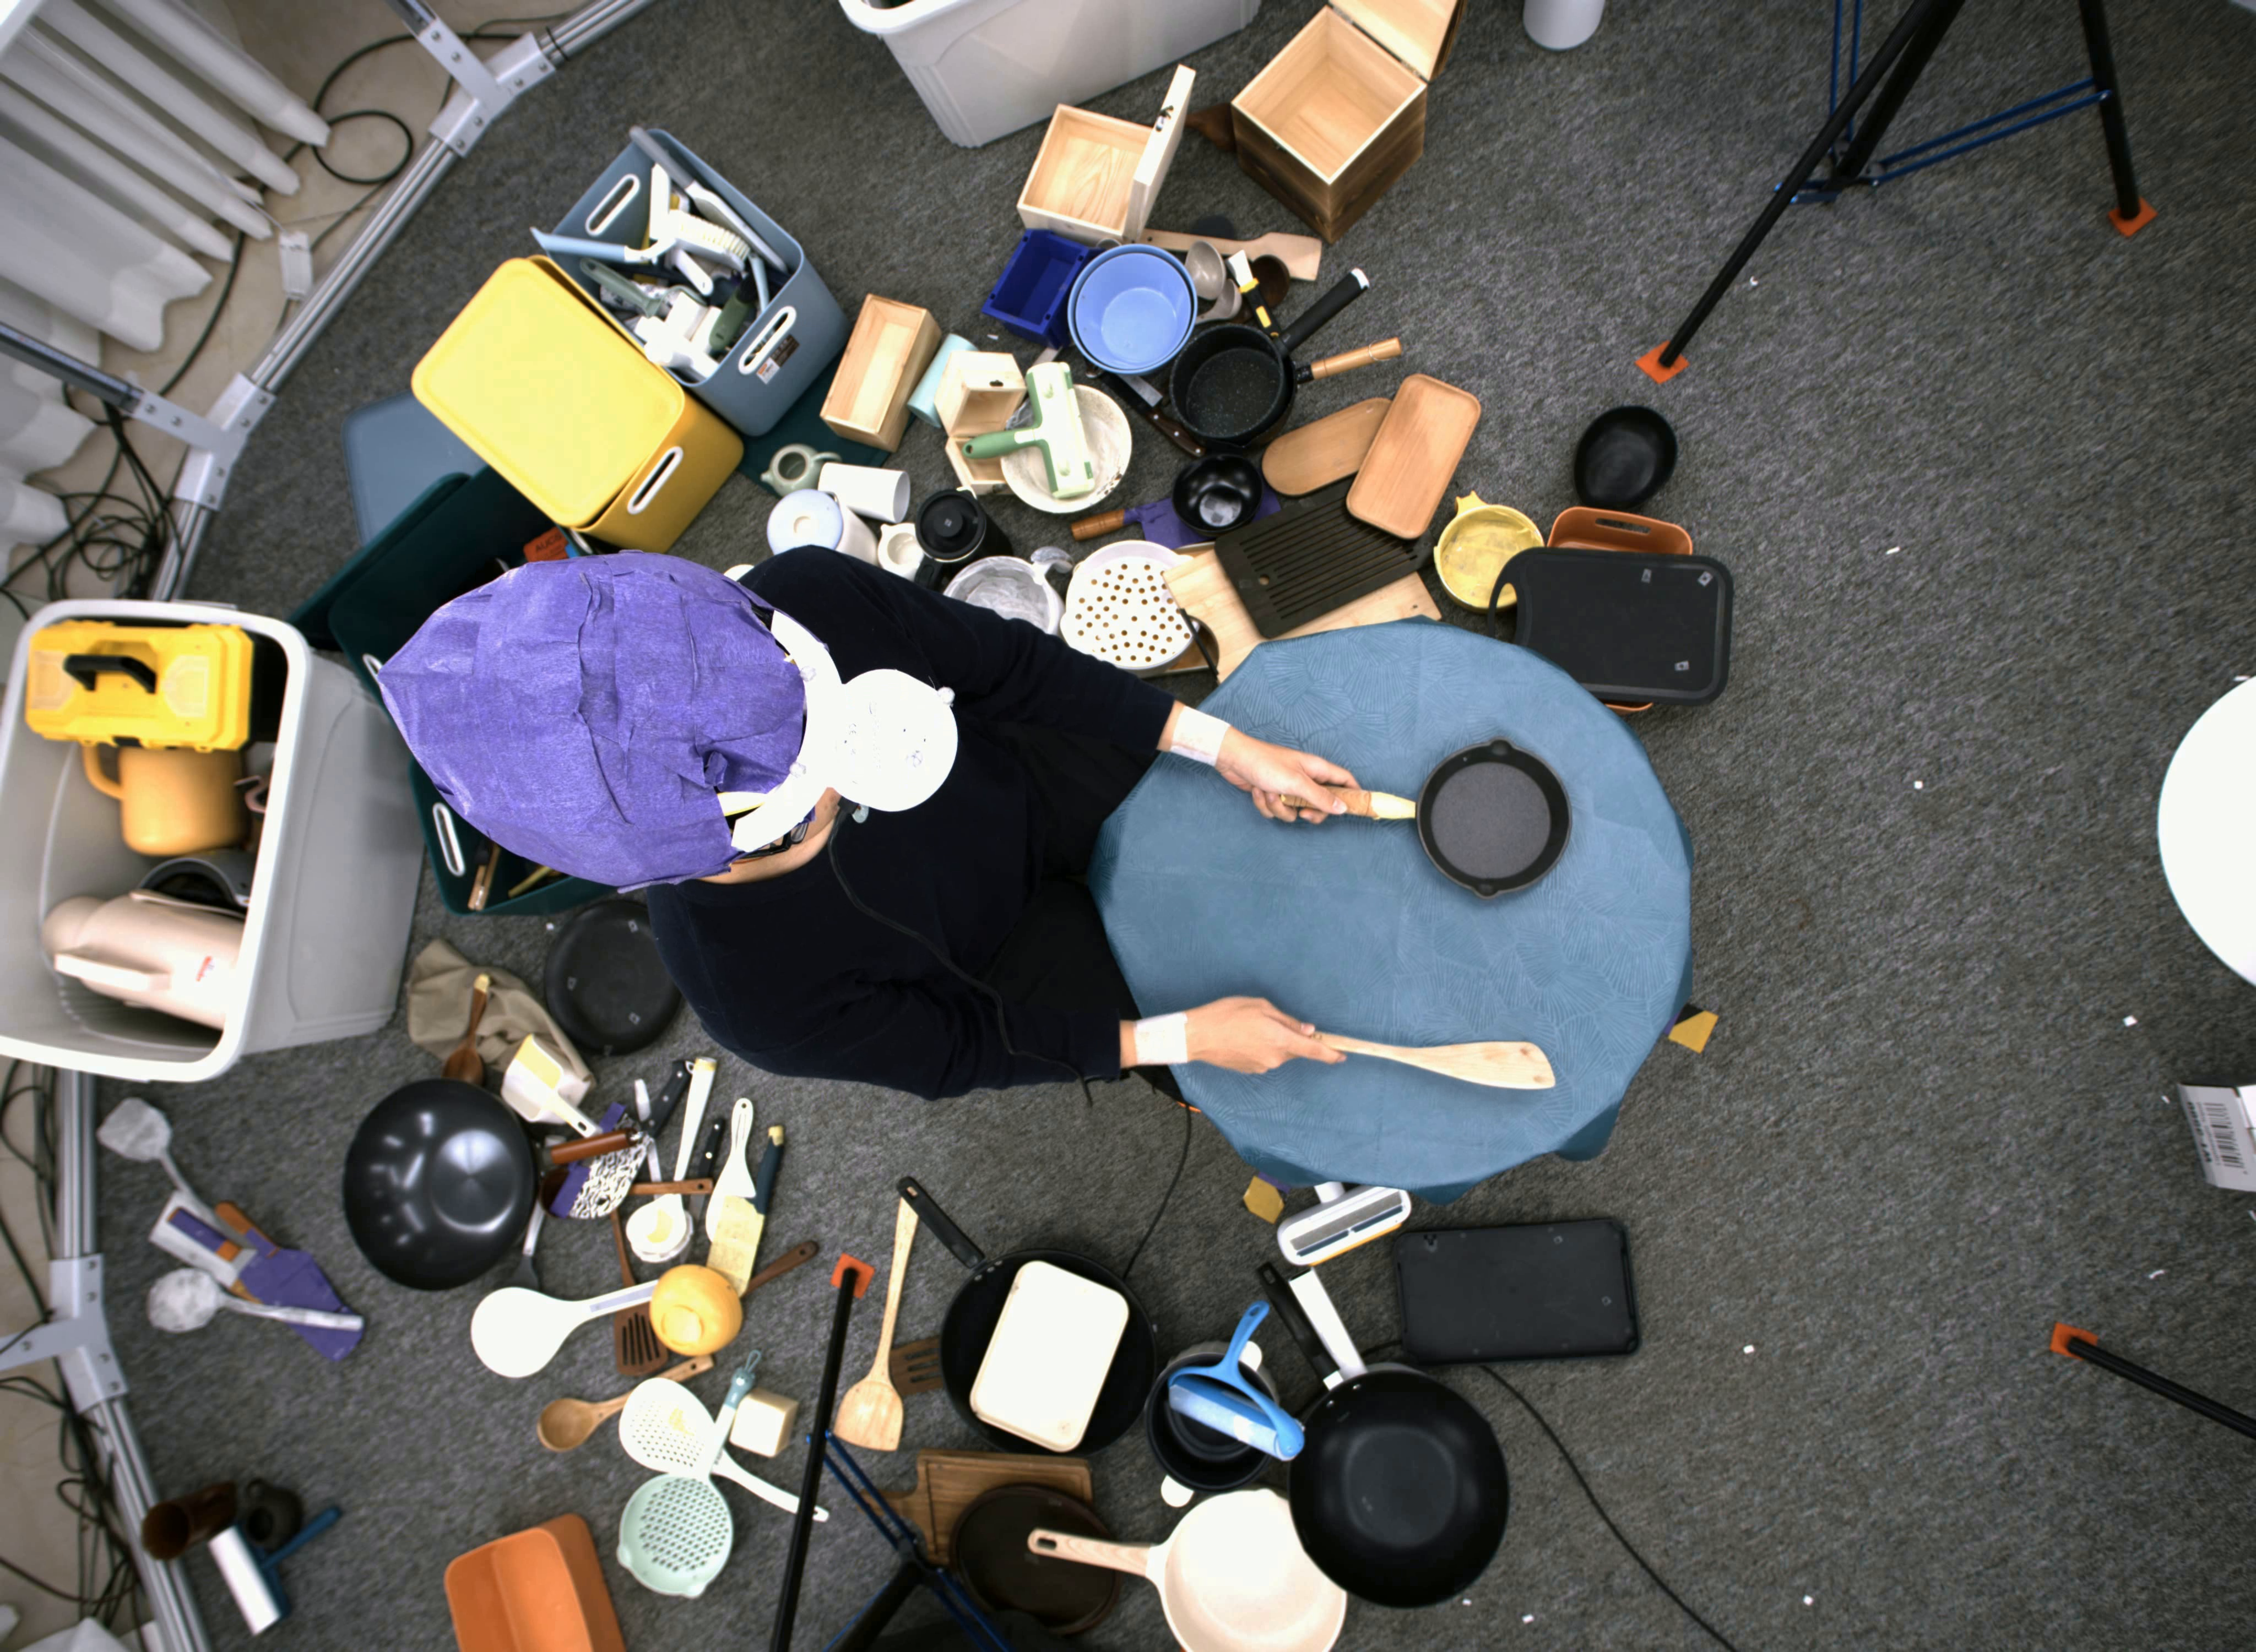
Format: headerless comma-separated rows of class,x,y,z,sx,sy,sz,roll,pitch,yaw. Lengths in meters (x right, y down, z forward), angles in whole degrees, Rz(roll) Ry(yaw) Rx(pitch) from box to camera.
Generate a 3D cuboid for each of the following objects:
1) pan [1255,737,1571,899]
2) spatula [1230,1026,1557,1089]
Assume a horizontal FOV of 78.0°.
pan,0.294,-0.022,1.431,0.325,0.049,0.168,9,88,8
spatula,0.268,0.226,1.413,0.328,0.078,0.017,6,116,8
